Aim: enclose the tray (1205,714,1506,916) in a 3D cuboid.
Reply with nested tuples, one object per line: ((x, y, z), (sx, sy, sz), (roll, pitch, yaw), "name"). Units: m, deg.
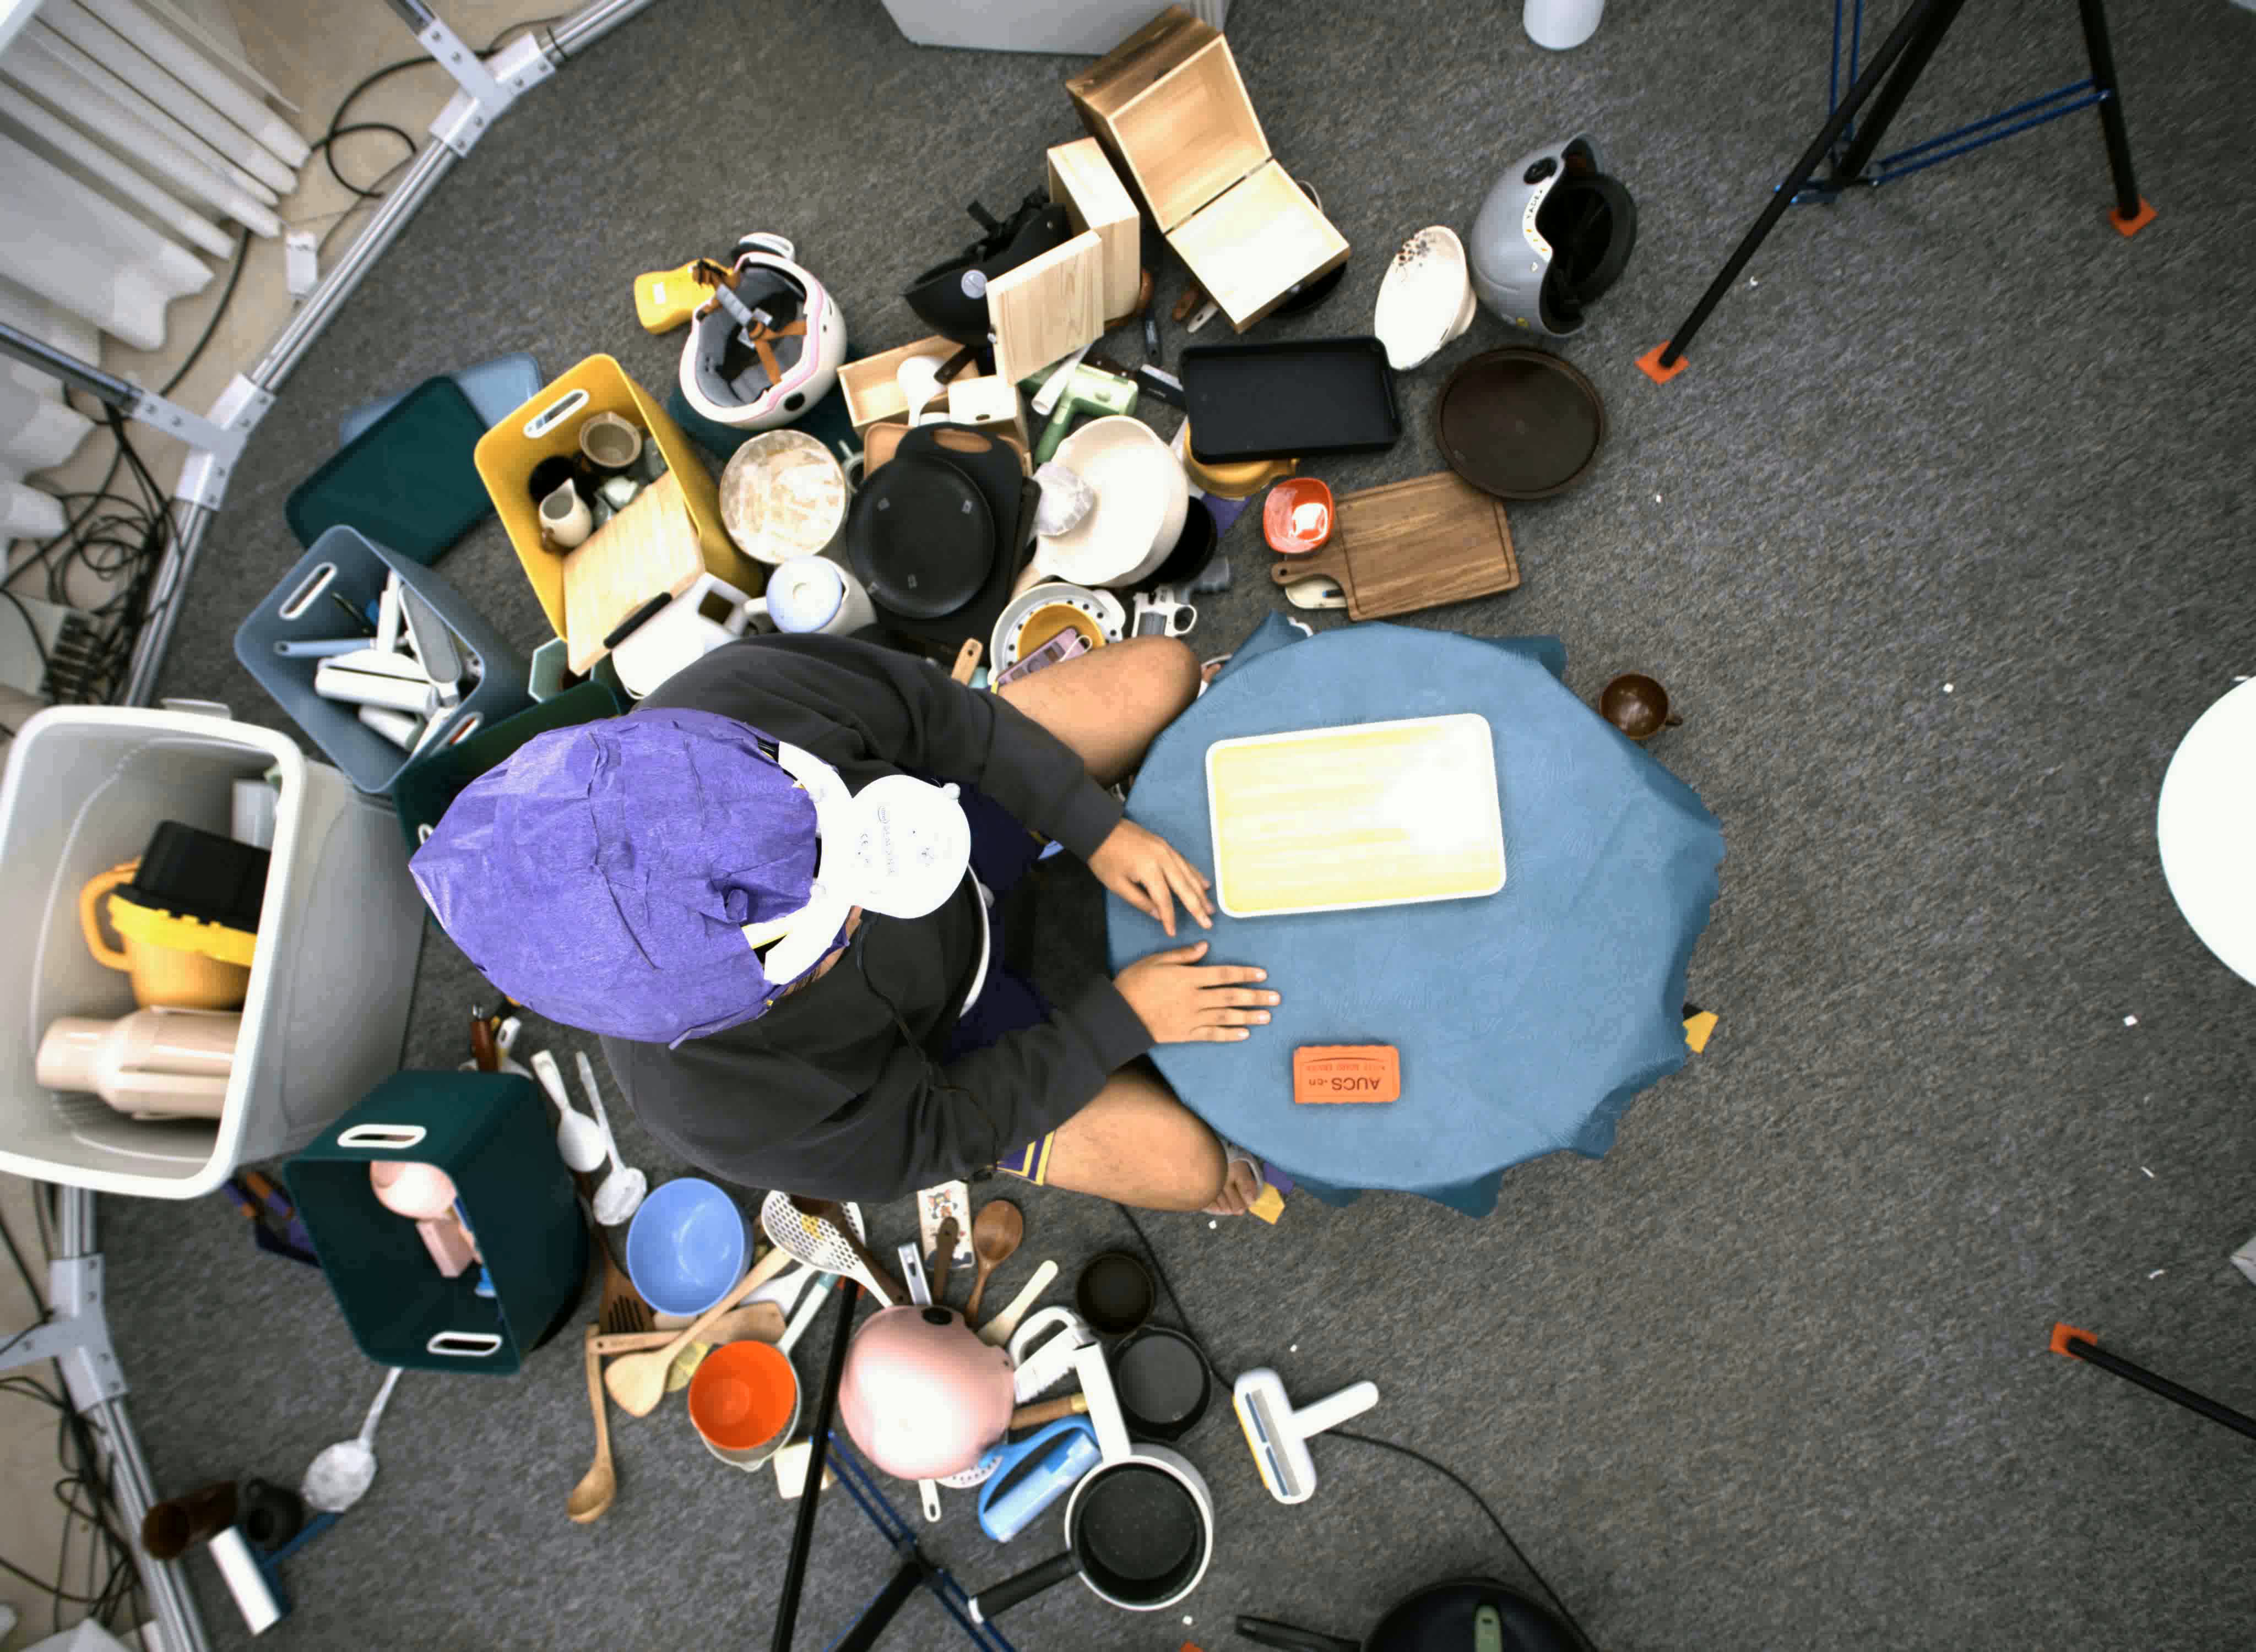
((0.237, -0.011, 1.457), (0.301, 0.027, 0.190), (-5, 86, 10), "tray")

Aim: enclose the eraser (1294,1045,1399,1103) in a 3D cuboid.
((0.228, 0.257, 1.444), (0.108, 0.023, 0.059), (-2, 86, 10), "eraser")
